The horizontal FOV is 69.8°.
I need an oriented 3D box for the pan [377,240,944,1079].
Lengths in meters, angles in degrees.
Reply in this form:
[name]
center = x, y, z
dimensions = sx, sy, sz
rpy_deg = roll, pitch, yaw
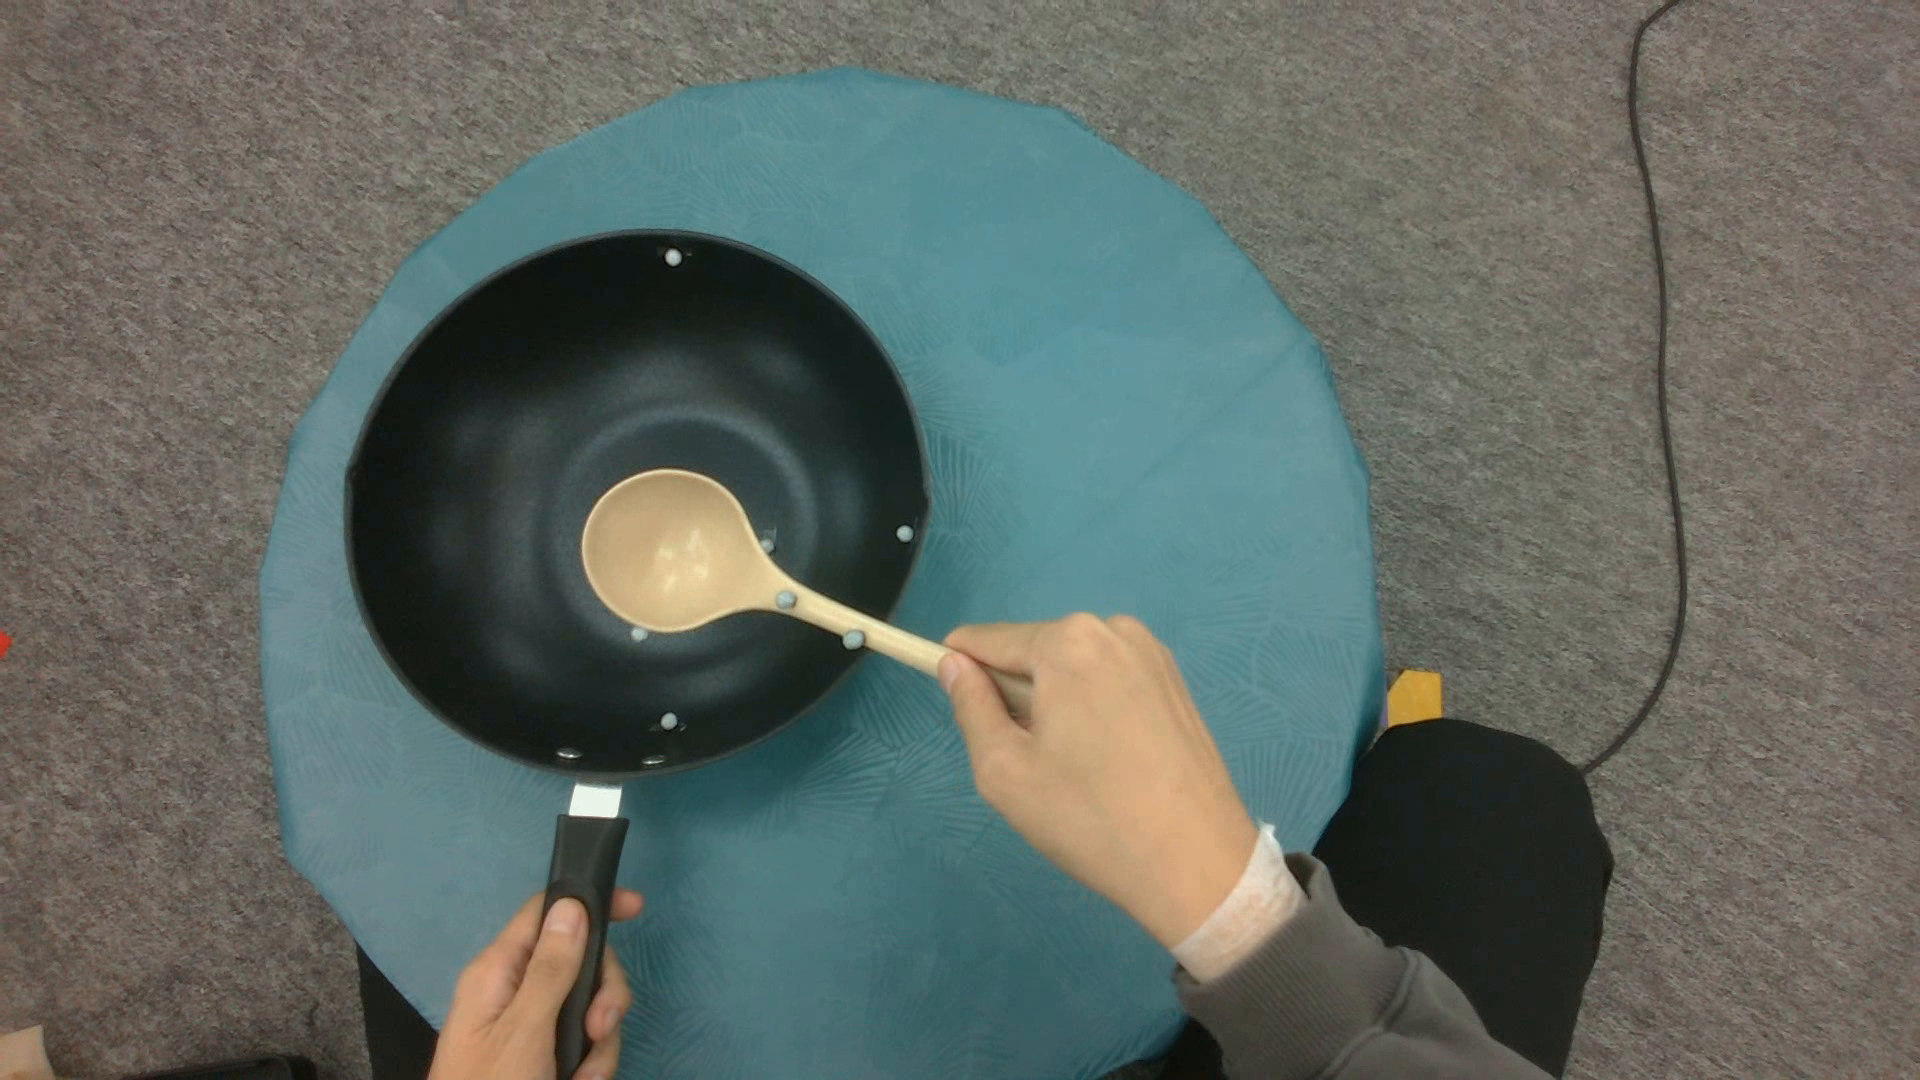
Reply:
[pan]
center = -0.157, 0.076, 0.698
dimensions = 0.288, 0.086, 0.464
rpy_deg = 4, 75, 3

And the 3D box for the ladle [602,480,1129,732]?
[ladle]
center = -0.052, 0.029, 0.568
dimensions = 0.254, 0.073, 0.072
rpy_deg = 15, 78, 39
